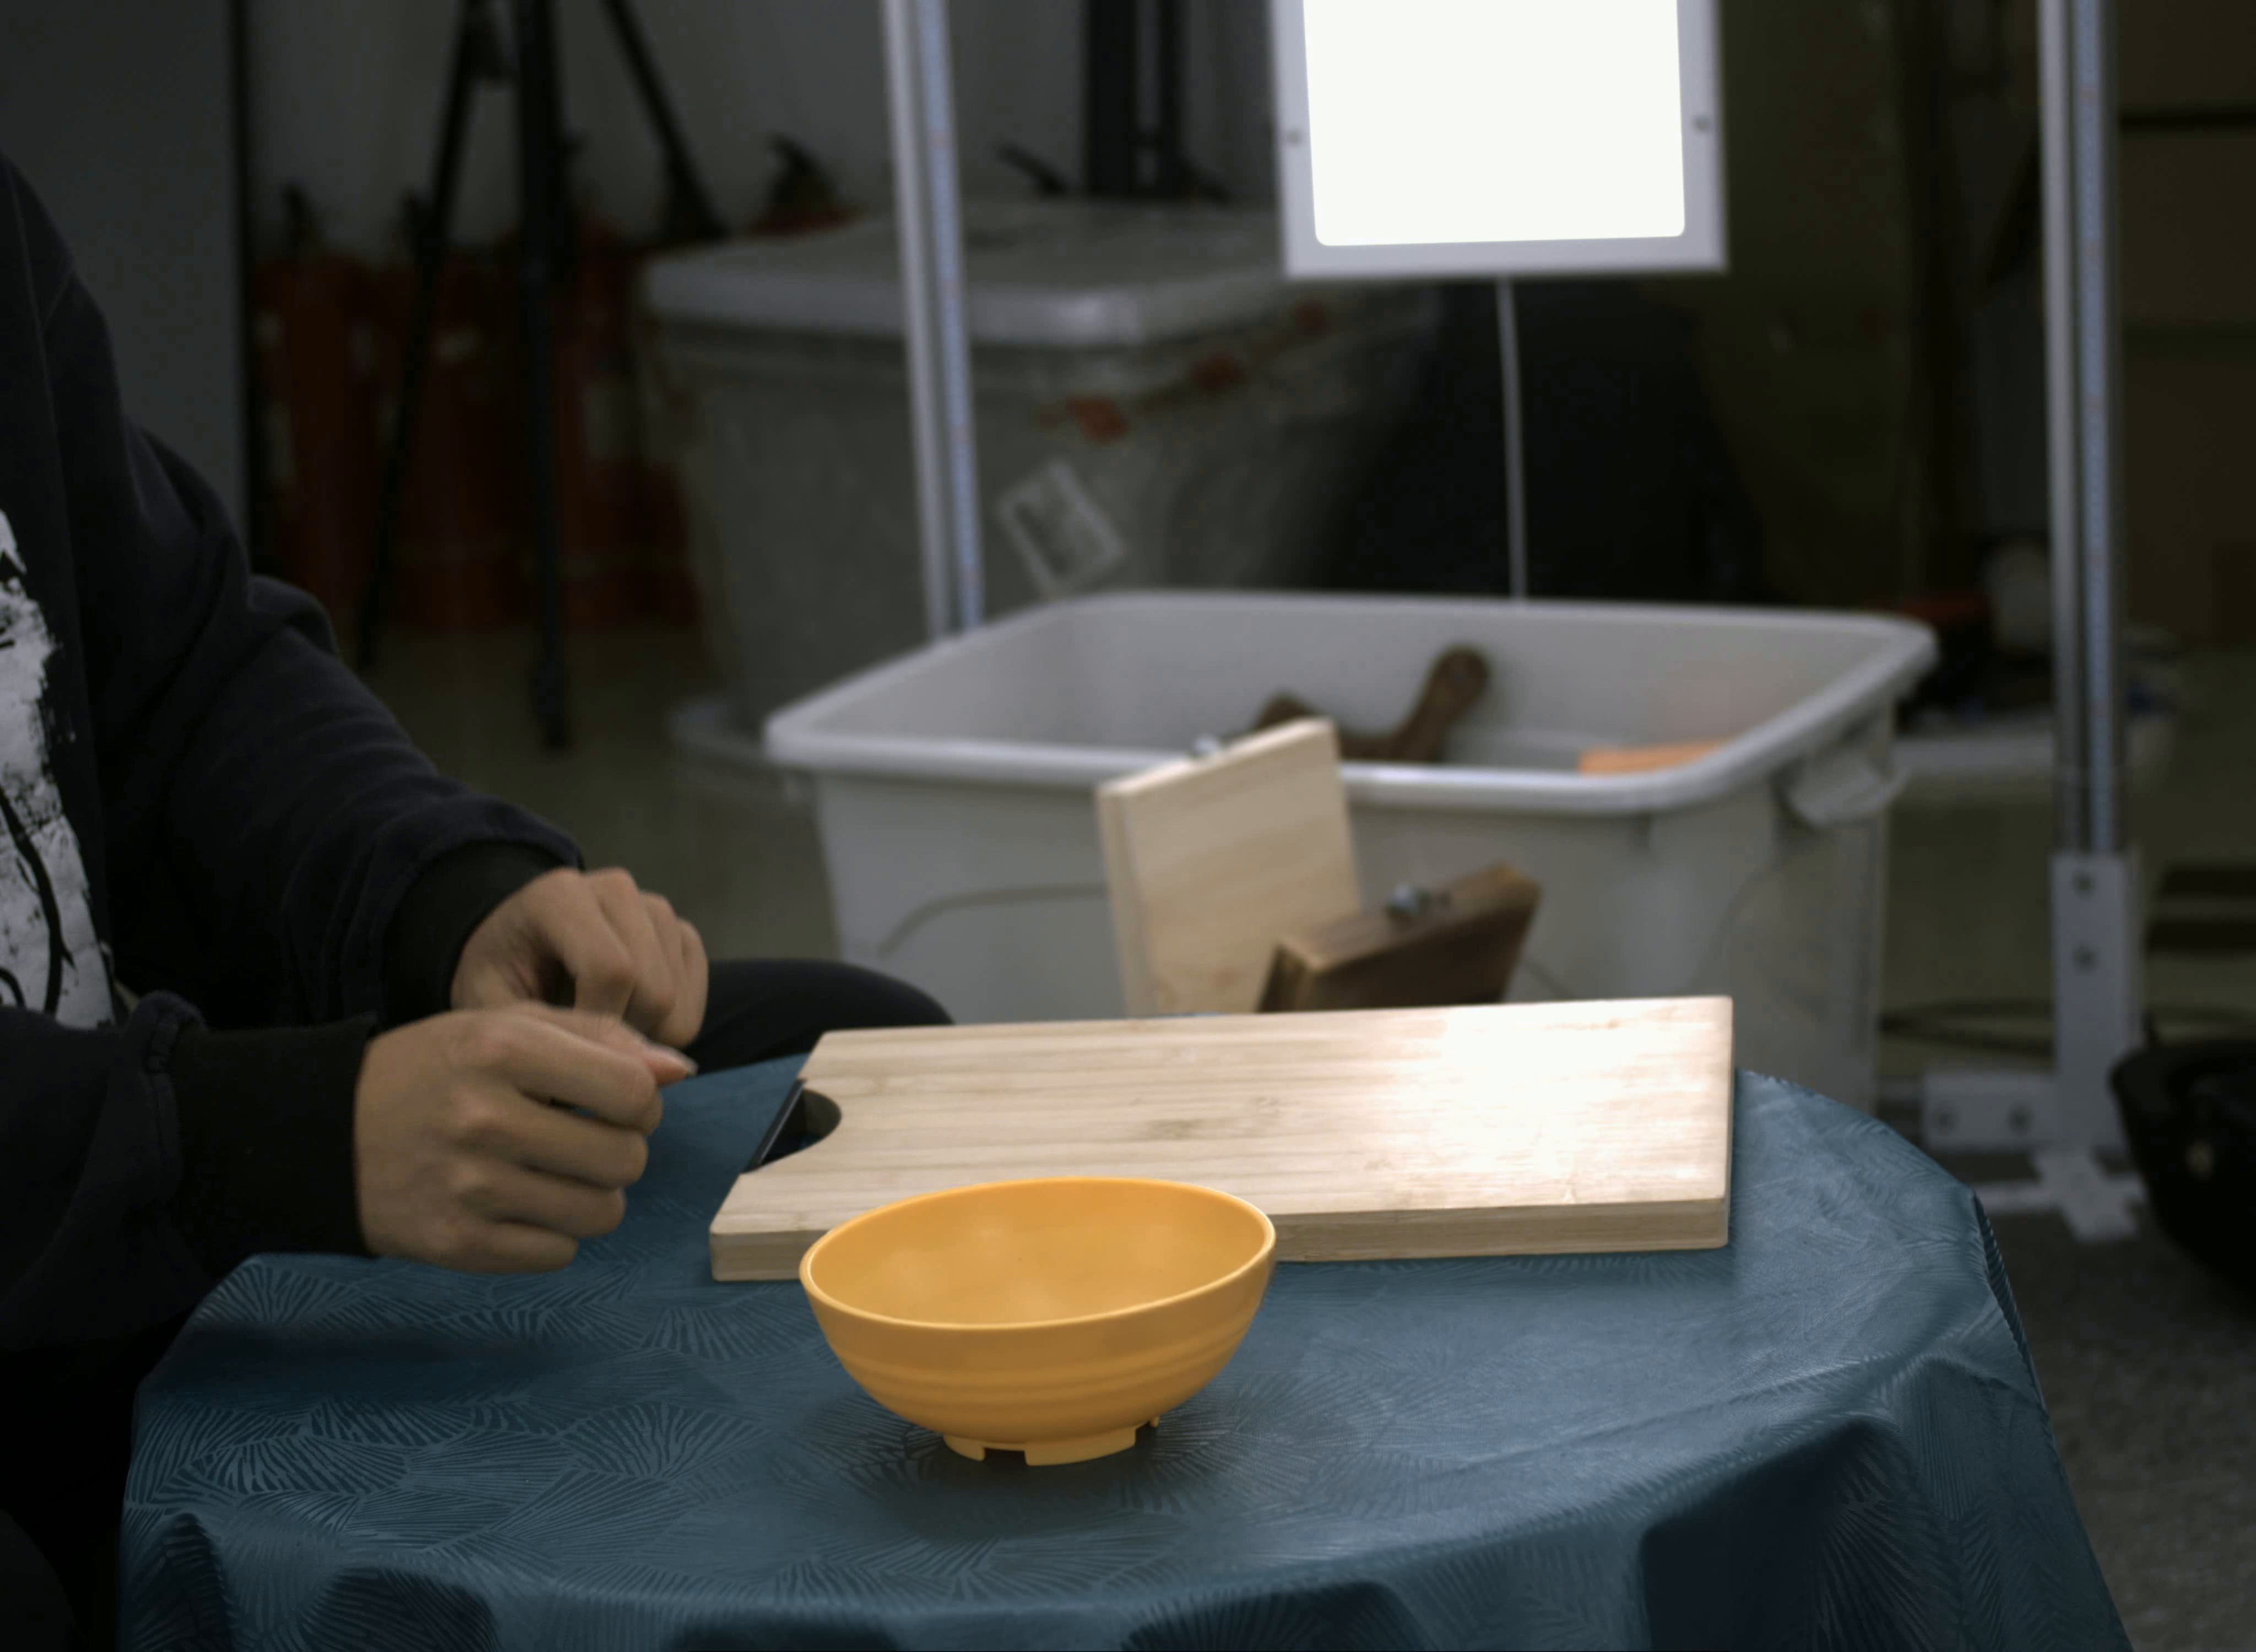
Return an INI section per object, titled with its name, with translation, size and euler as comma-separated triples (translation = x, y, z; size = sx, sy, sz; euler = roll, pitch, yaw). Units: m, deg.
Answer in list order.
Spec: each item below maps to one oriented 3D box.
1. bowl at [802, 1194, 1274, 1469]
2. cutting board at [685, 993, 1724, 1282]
[bowl]
translation = -0.026, 0.157, 1.666
size = 0.145, 0.060, 0.145
euler = -4, 11, -1
[cutting board]
translation = 0.036, 0.108, 1.927
size = 0.350, 0.023, 0.248
euler = -3, 14, 8
